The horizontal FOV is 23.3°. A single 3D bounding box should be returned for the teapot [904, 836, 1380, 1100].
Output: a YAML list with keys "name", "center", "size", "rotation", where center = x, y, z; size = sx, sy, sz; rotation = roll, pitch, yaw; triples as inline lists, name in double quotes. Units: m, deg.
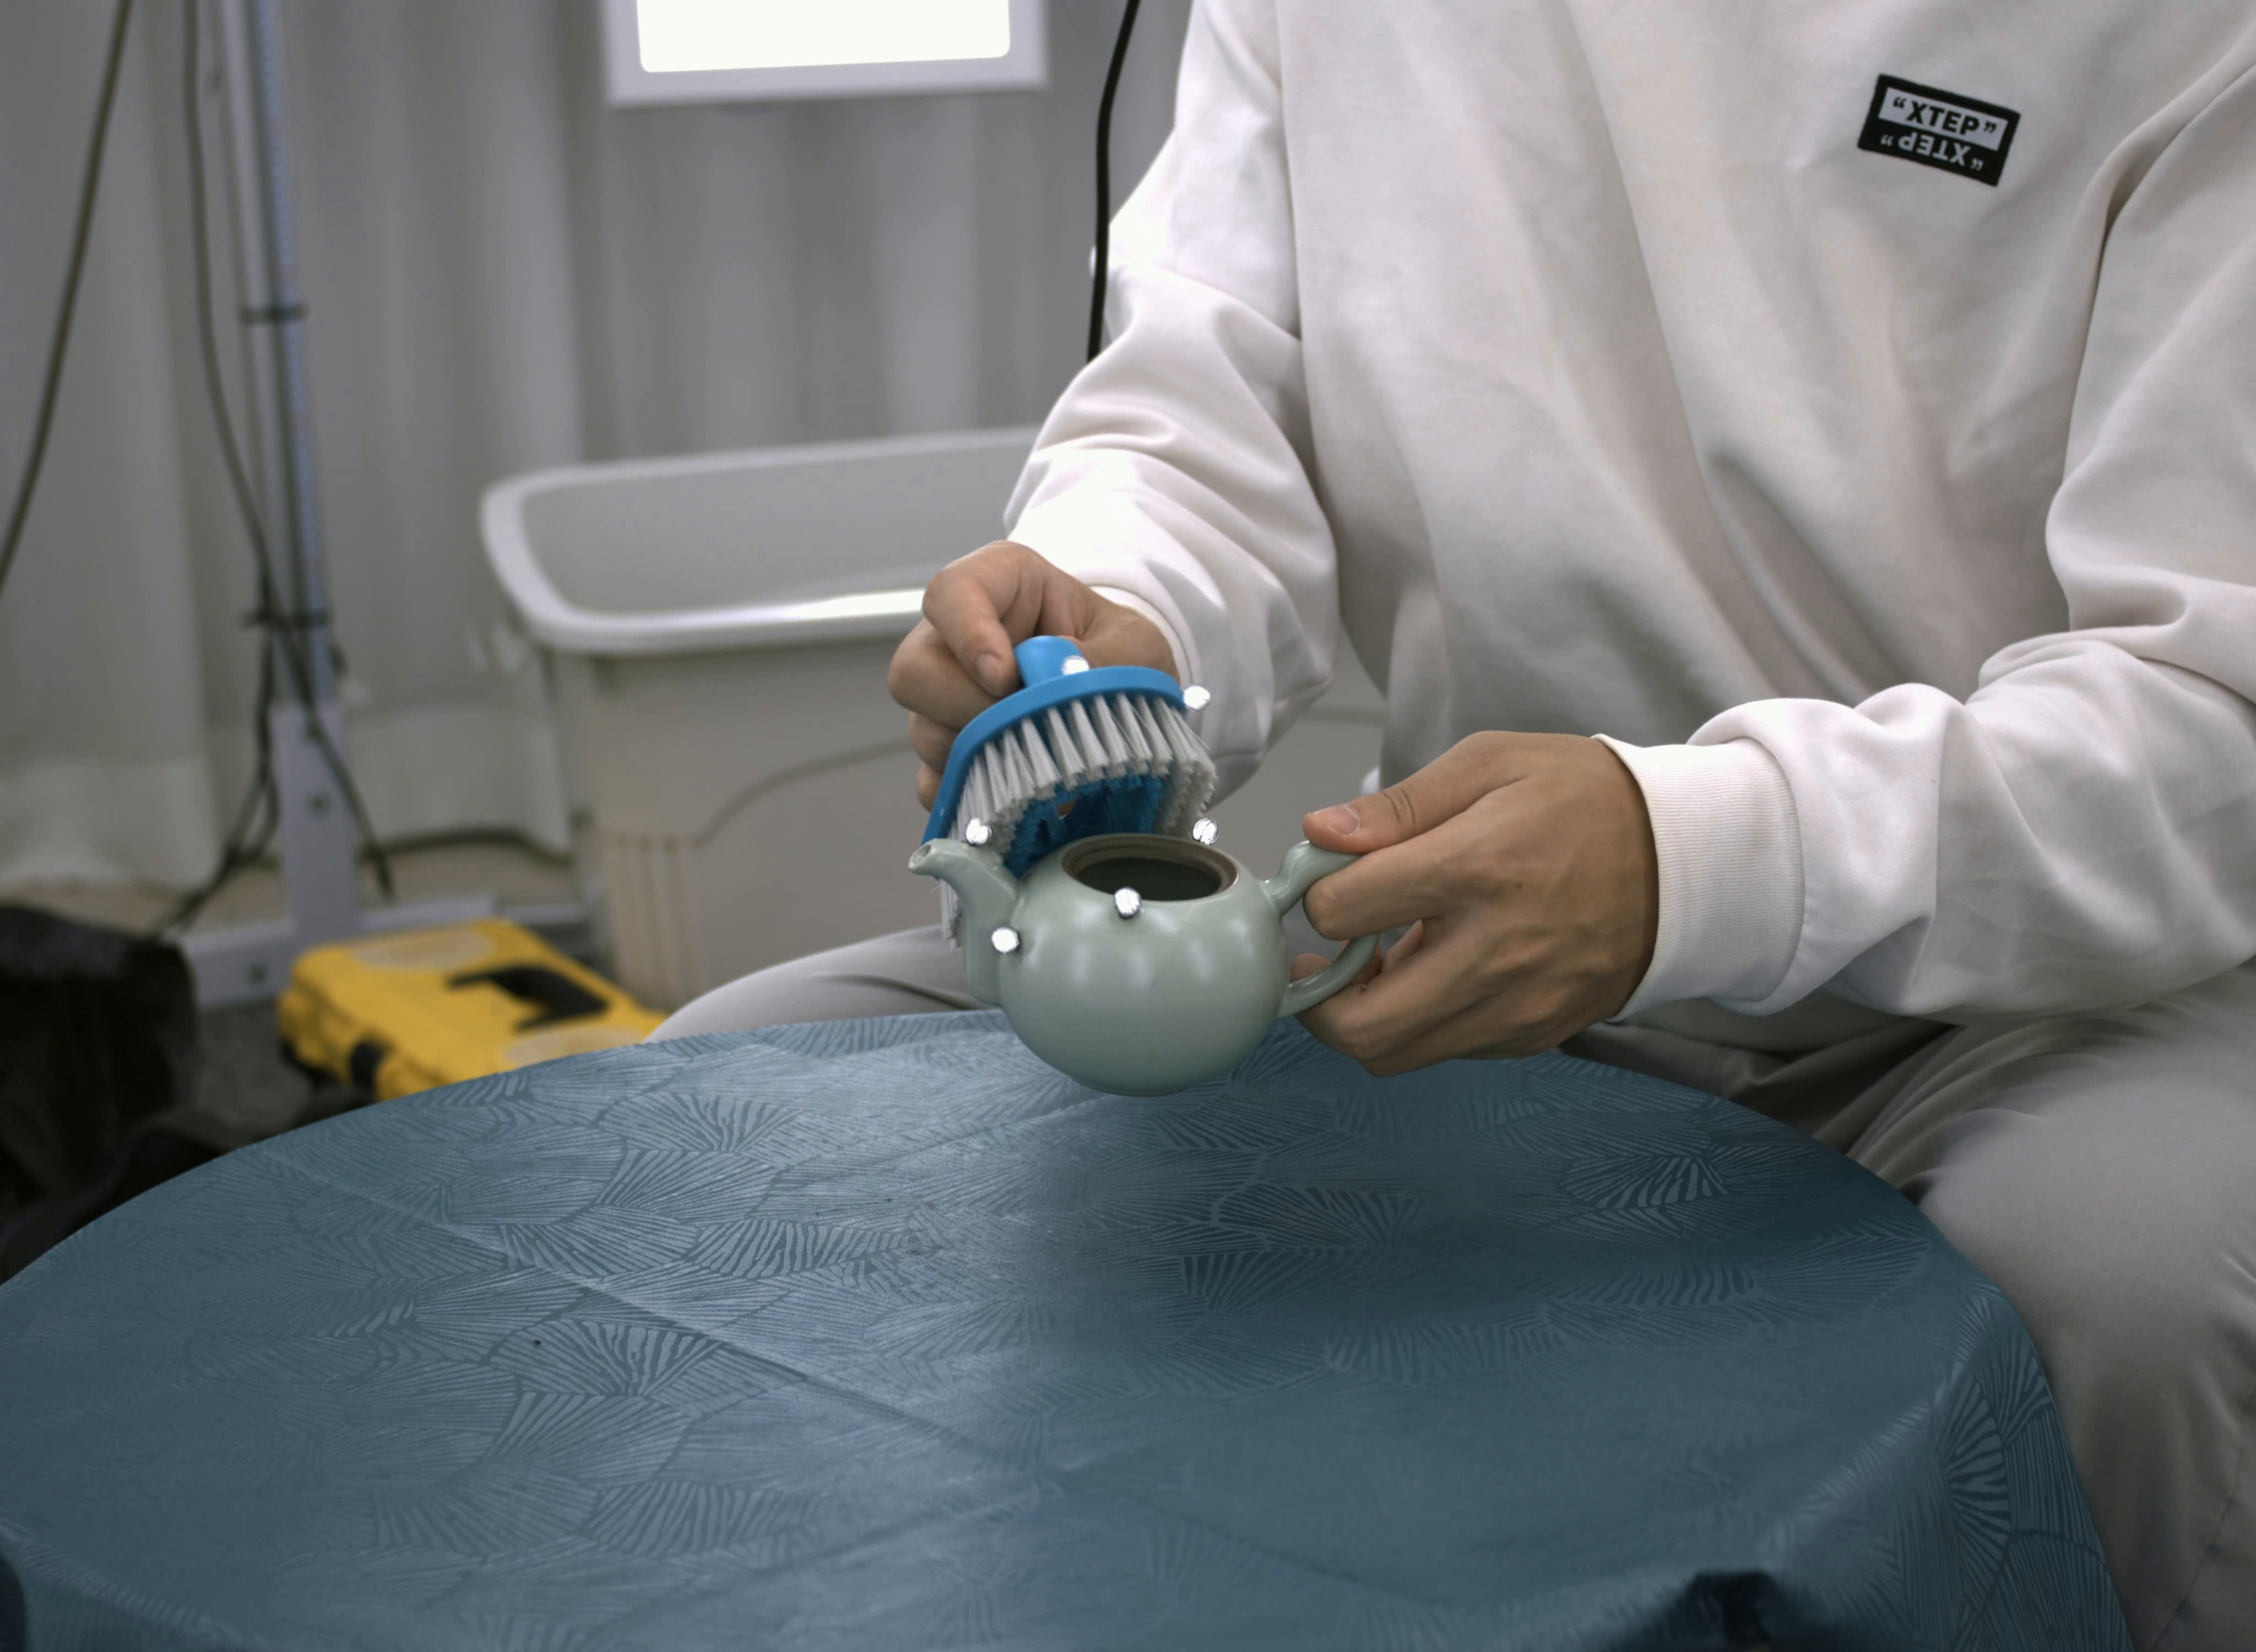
- name: "teapot"
  center: [0.004, 0.040, 1.637]
  size: [0.143, 0.074, 0.089]
  rotation: [1, 18, -4]

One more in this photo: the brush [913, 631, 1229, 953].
- name: "brush"
  center: [-0.024, -0.017, 1.672]
  size: [0.084, 0.064, 0.140]
  rotation: [-16, -23, -19]
